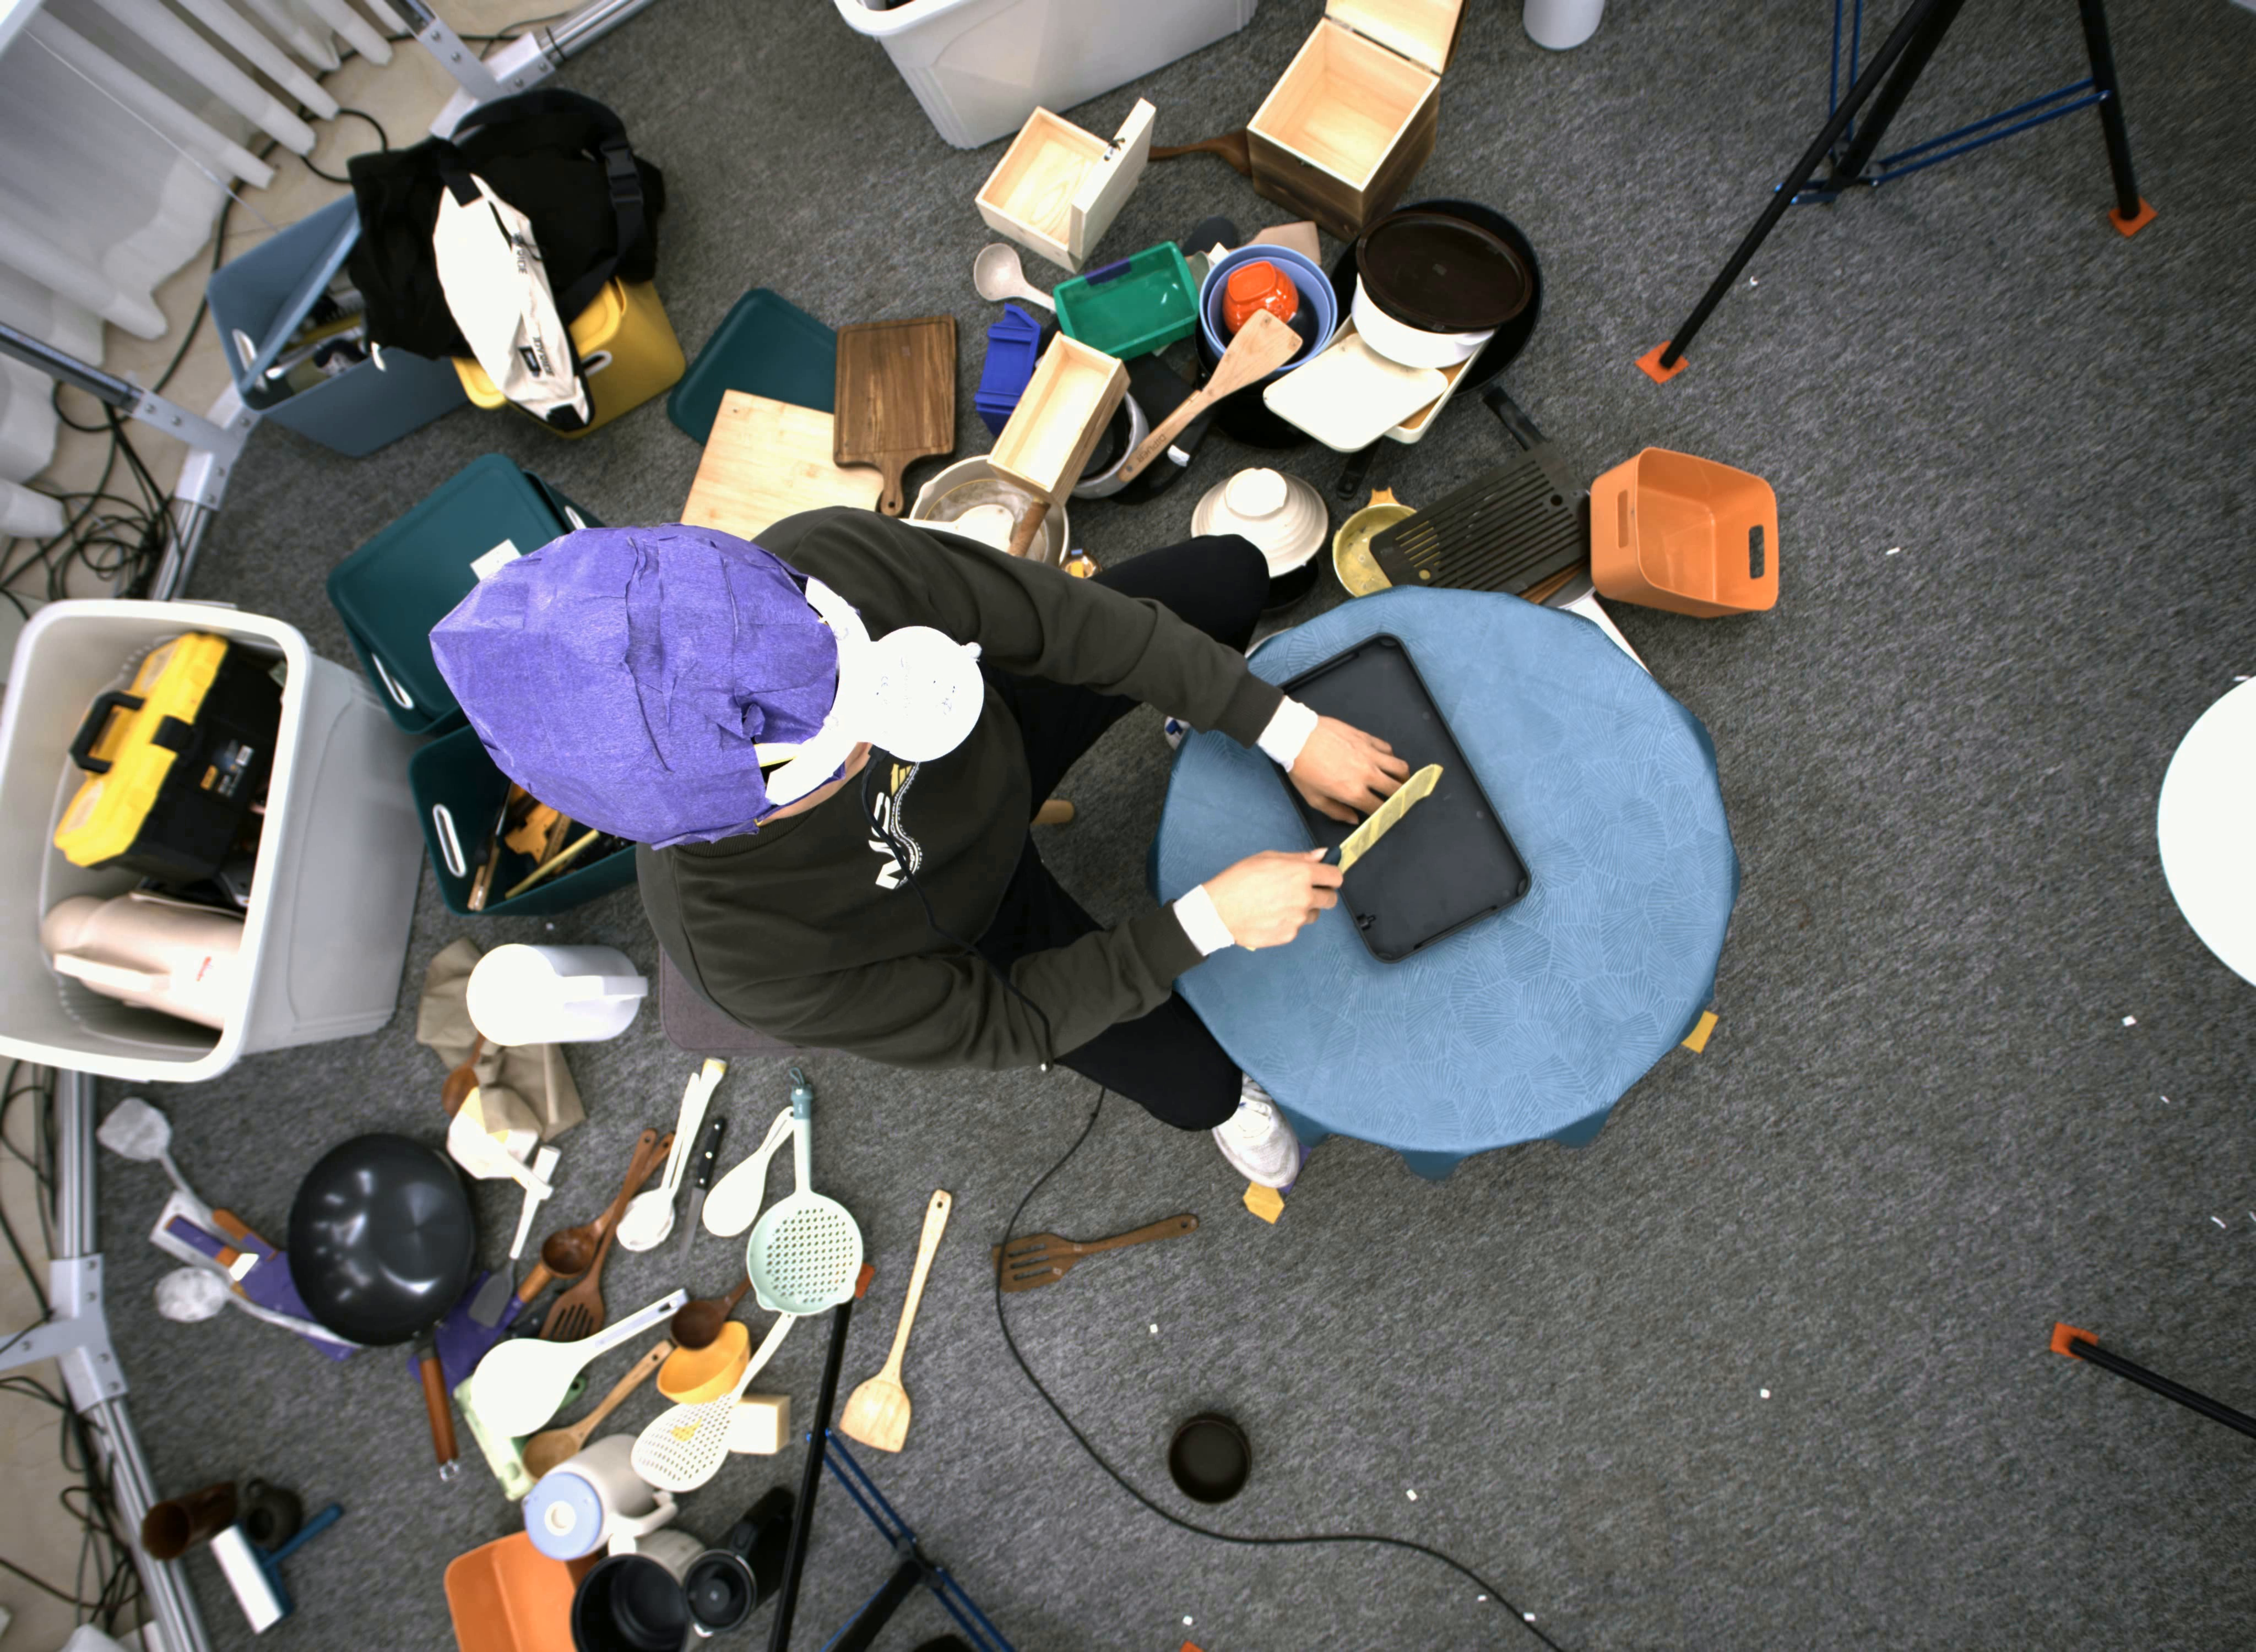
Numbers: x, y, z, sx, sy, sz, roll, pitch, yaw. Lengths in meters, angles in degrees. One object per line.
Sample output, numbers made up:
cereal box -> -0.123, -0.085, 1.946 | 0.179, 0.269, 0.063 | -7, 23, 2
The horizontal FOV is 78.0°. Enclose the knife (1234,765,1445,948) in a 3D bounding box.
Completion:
knife -> 0.217, 0.028, 1.381 | 0.287, 0.082, 0.027 | -39, 64, -11

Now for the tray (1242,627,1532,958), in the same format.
tray -> 0.270, -0.037, 1.448 | 0.185, 0.037, 0.316 | -30, 82, 8
